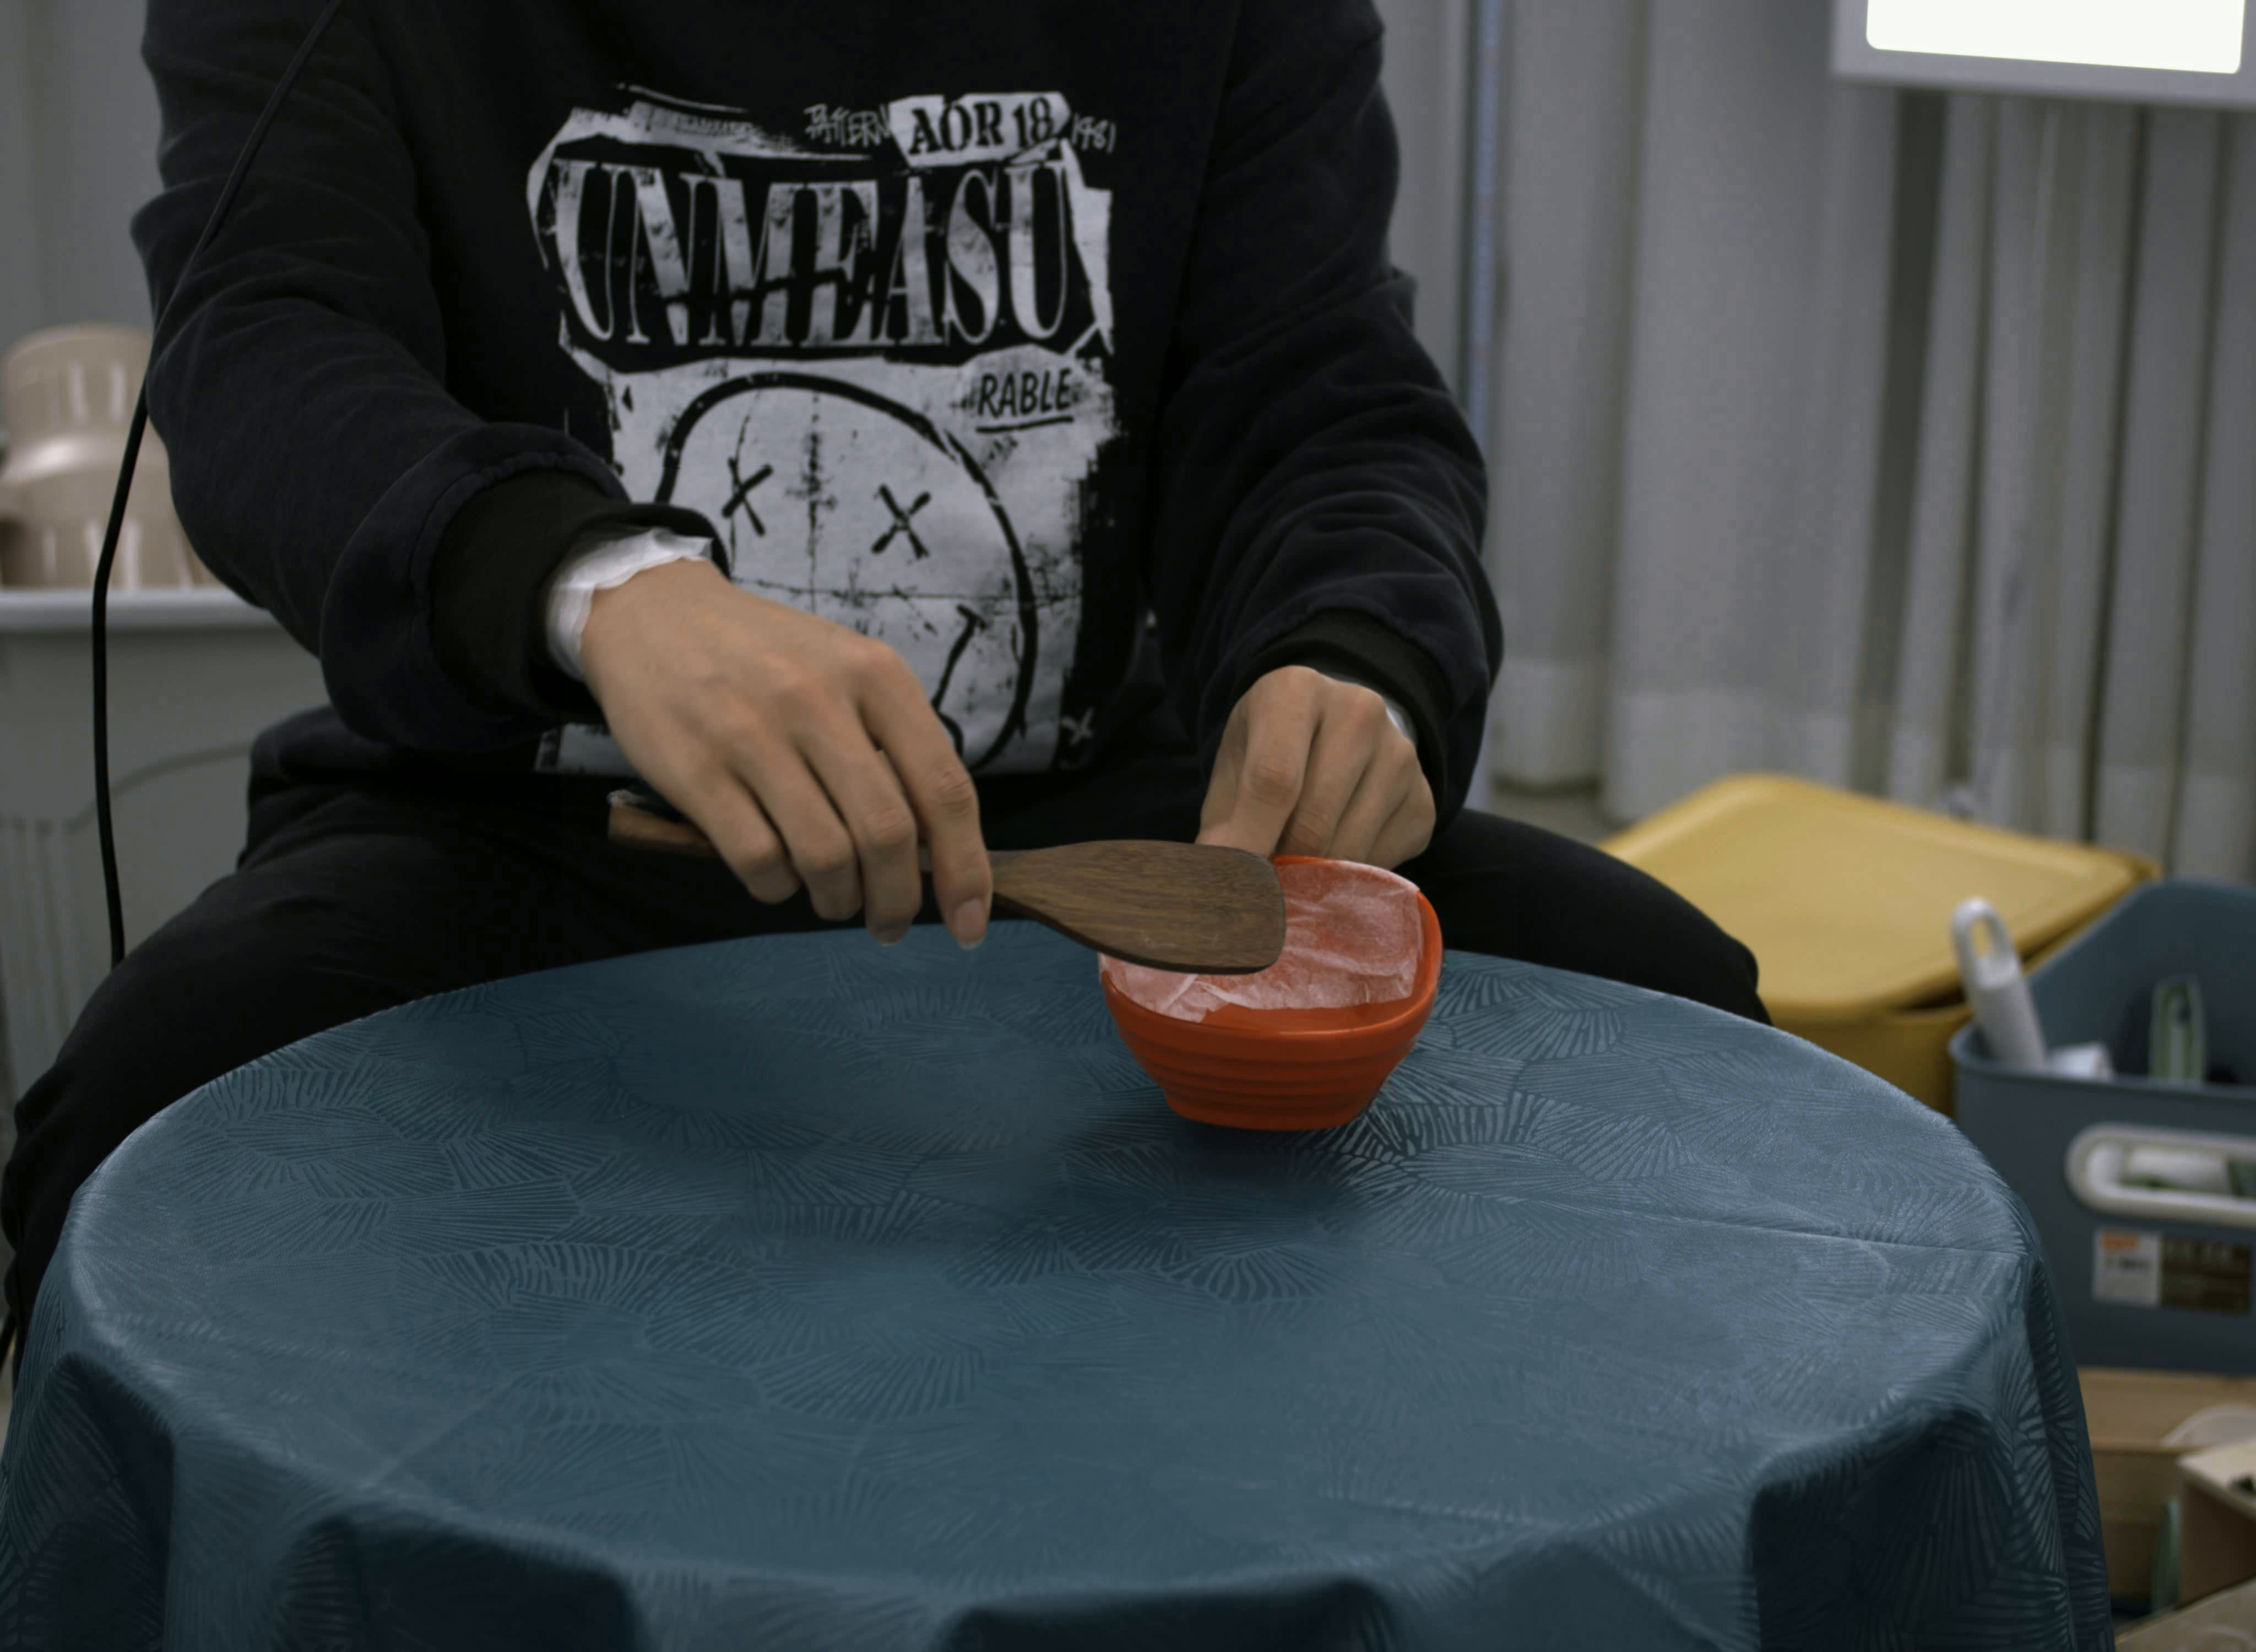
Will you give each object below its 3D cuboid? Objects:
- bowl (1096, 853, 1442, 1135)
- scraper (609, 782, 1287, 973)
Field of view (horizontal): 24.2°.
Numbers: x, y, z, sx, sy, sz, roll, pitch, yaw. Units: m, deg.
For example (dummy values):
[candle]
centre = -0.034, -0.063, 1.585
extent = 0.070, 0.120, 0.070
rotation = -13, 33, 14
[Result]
[bowl]
centre = 0.044, 0.058, 1.676
extent = 0.118, 0.052, 0.118
rotation = 2, 32, -1
[scraper]
centre = -0.055, 0.011, 1.613
extent = 0.211, 0.011, 0.075
rotation = 10, 28, -7
